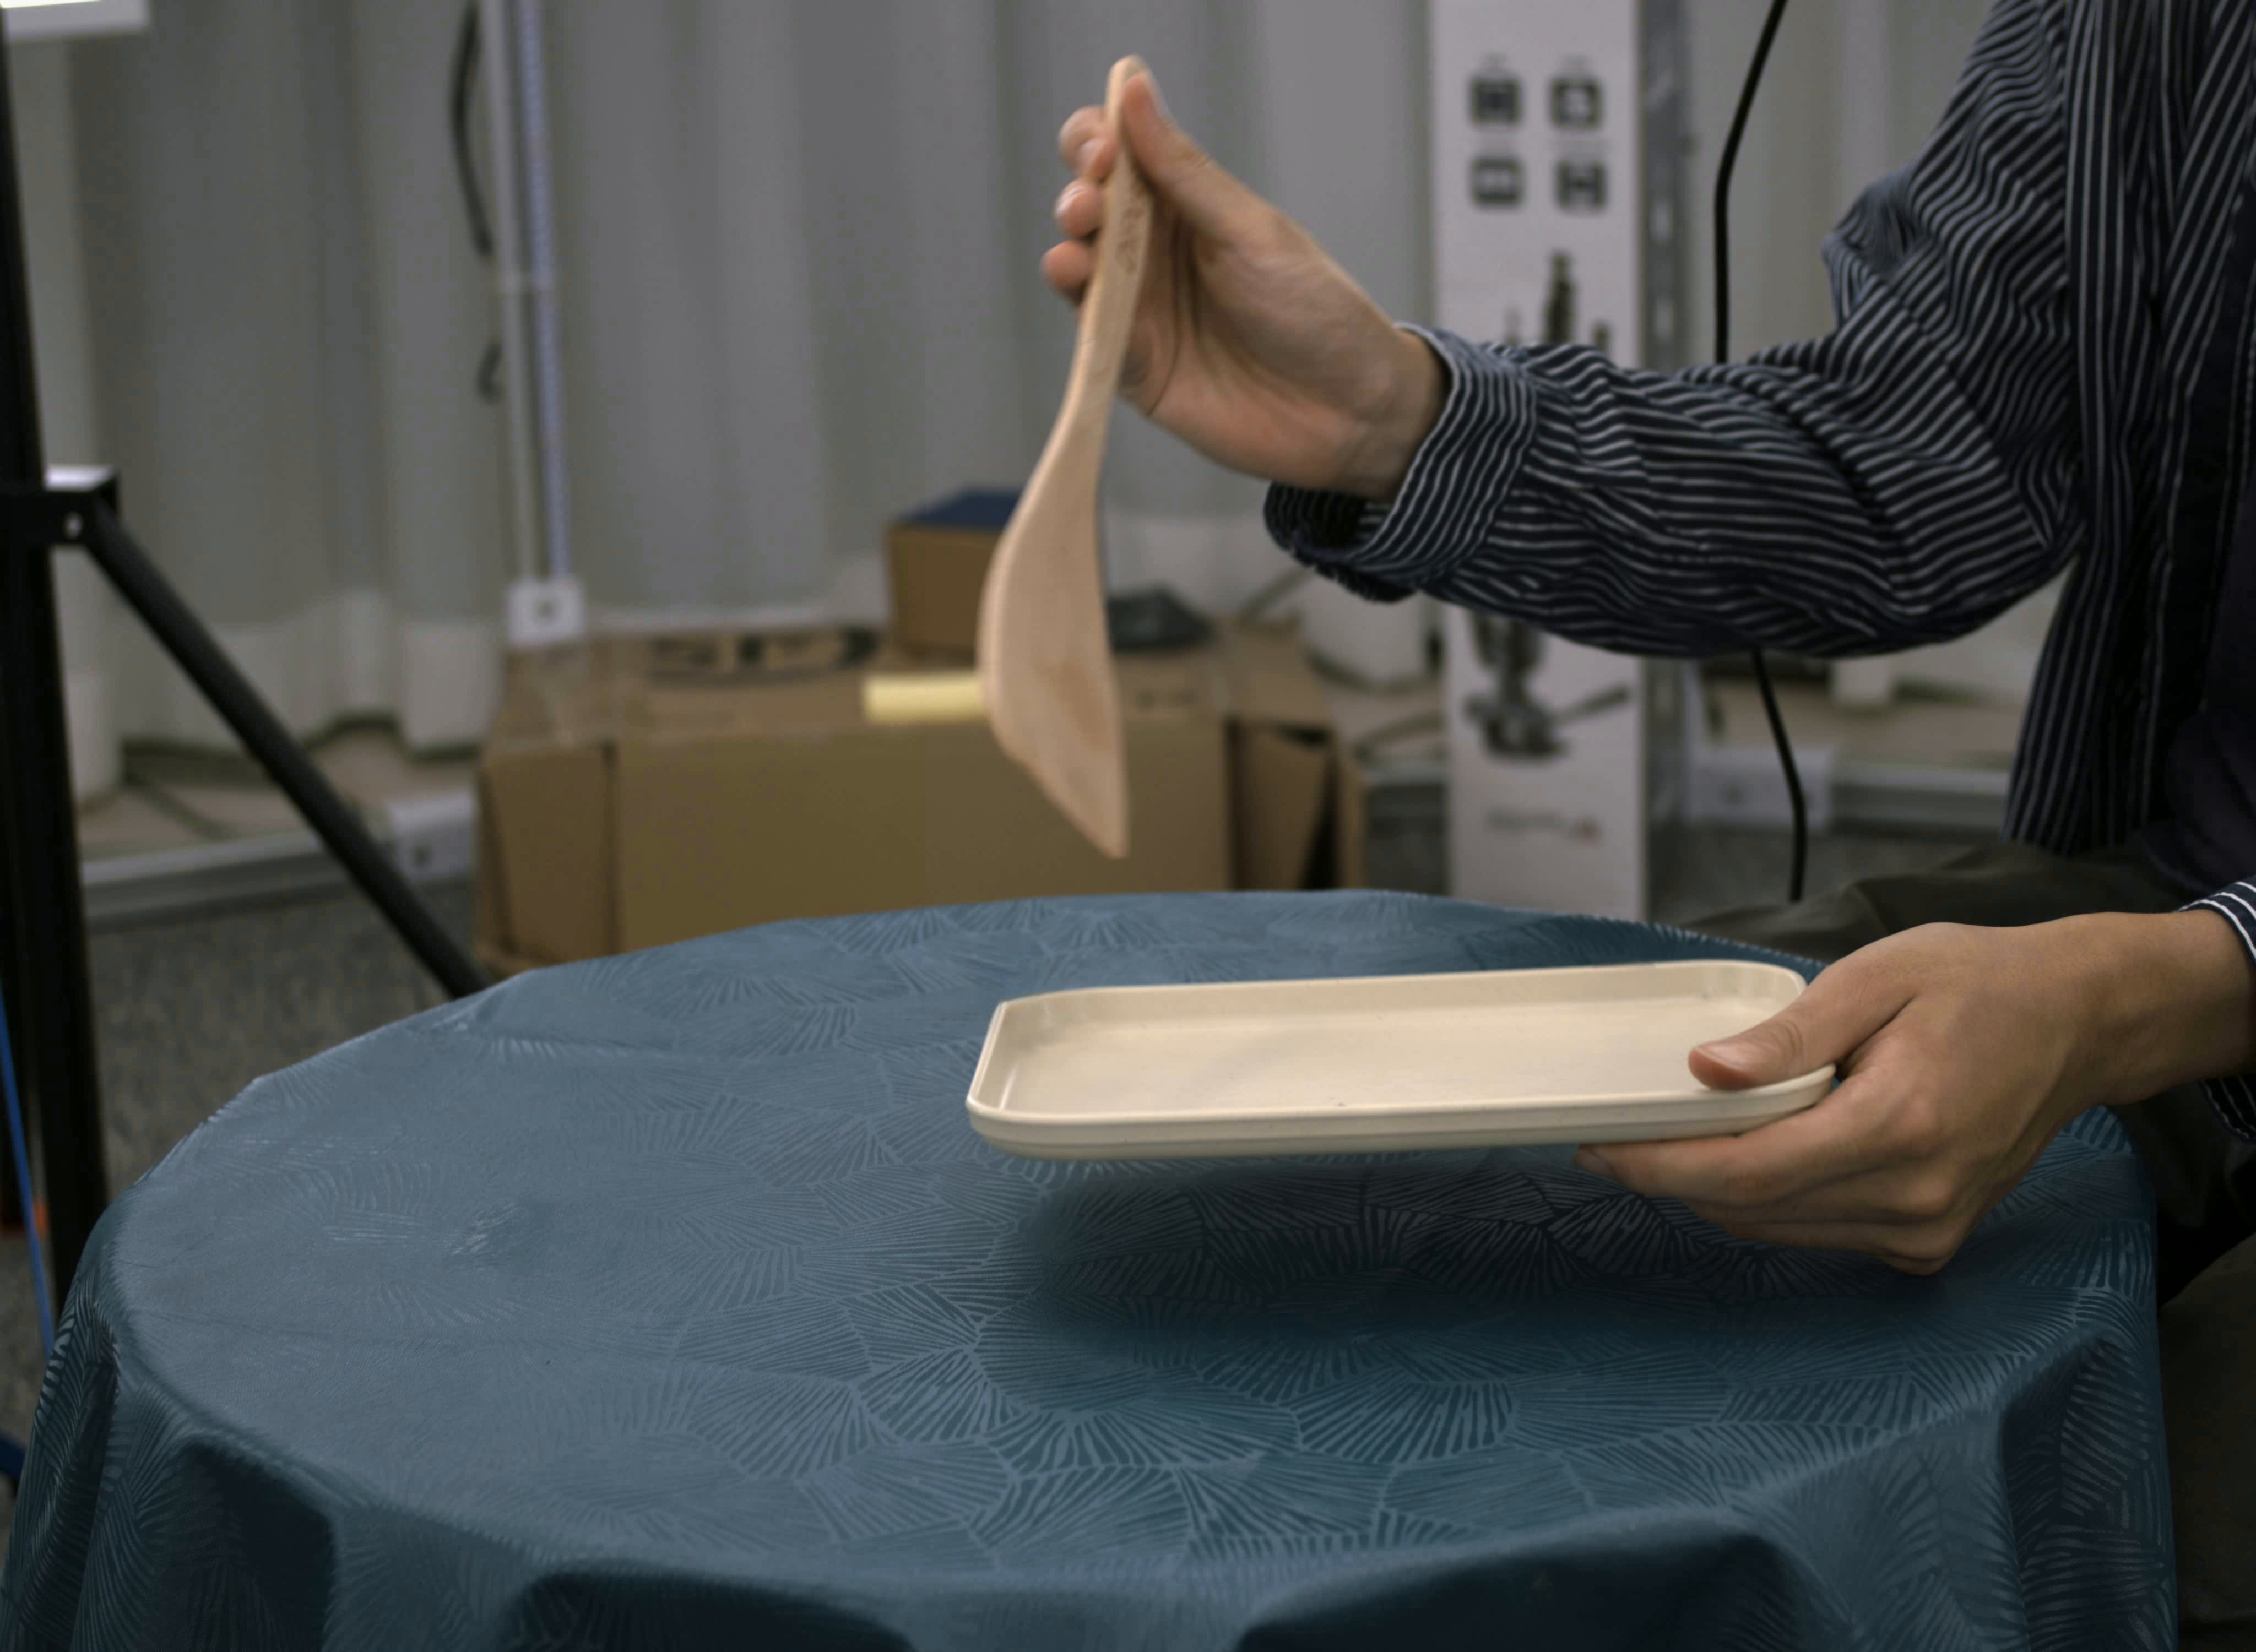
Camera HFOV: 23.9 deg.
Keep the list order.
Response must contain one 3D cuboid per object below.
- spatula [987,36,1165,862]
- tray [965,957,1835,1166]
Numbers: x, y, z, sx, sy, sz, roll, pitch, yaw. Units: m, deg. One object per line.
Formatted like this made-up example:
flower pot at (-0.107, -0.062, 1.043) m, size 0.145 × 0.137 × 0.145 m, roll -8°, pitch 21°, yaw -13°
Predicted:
spatula at (-0.008, -0.126, 1.627) m, size 0.017 × 0.078 × 0.330 m, roll -13°, pitch 46°, yaw 24°
tray at (0.076, 0.067, 1.502) m, size 0.239 × 0.017 × 0.171 m, roll -2°, pitch 11°, yaw 4°
